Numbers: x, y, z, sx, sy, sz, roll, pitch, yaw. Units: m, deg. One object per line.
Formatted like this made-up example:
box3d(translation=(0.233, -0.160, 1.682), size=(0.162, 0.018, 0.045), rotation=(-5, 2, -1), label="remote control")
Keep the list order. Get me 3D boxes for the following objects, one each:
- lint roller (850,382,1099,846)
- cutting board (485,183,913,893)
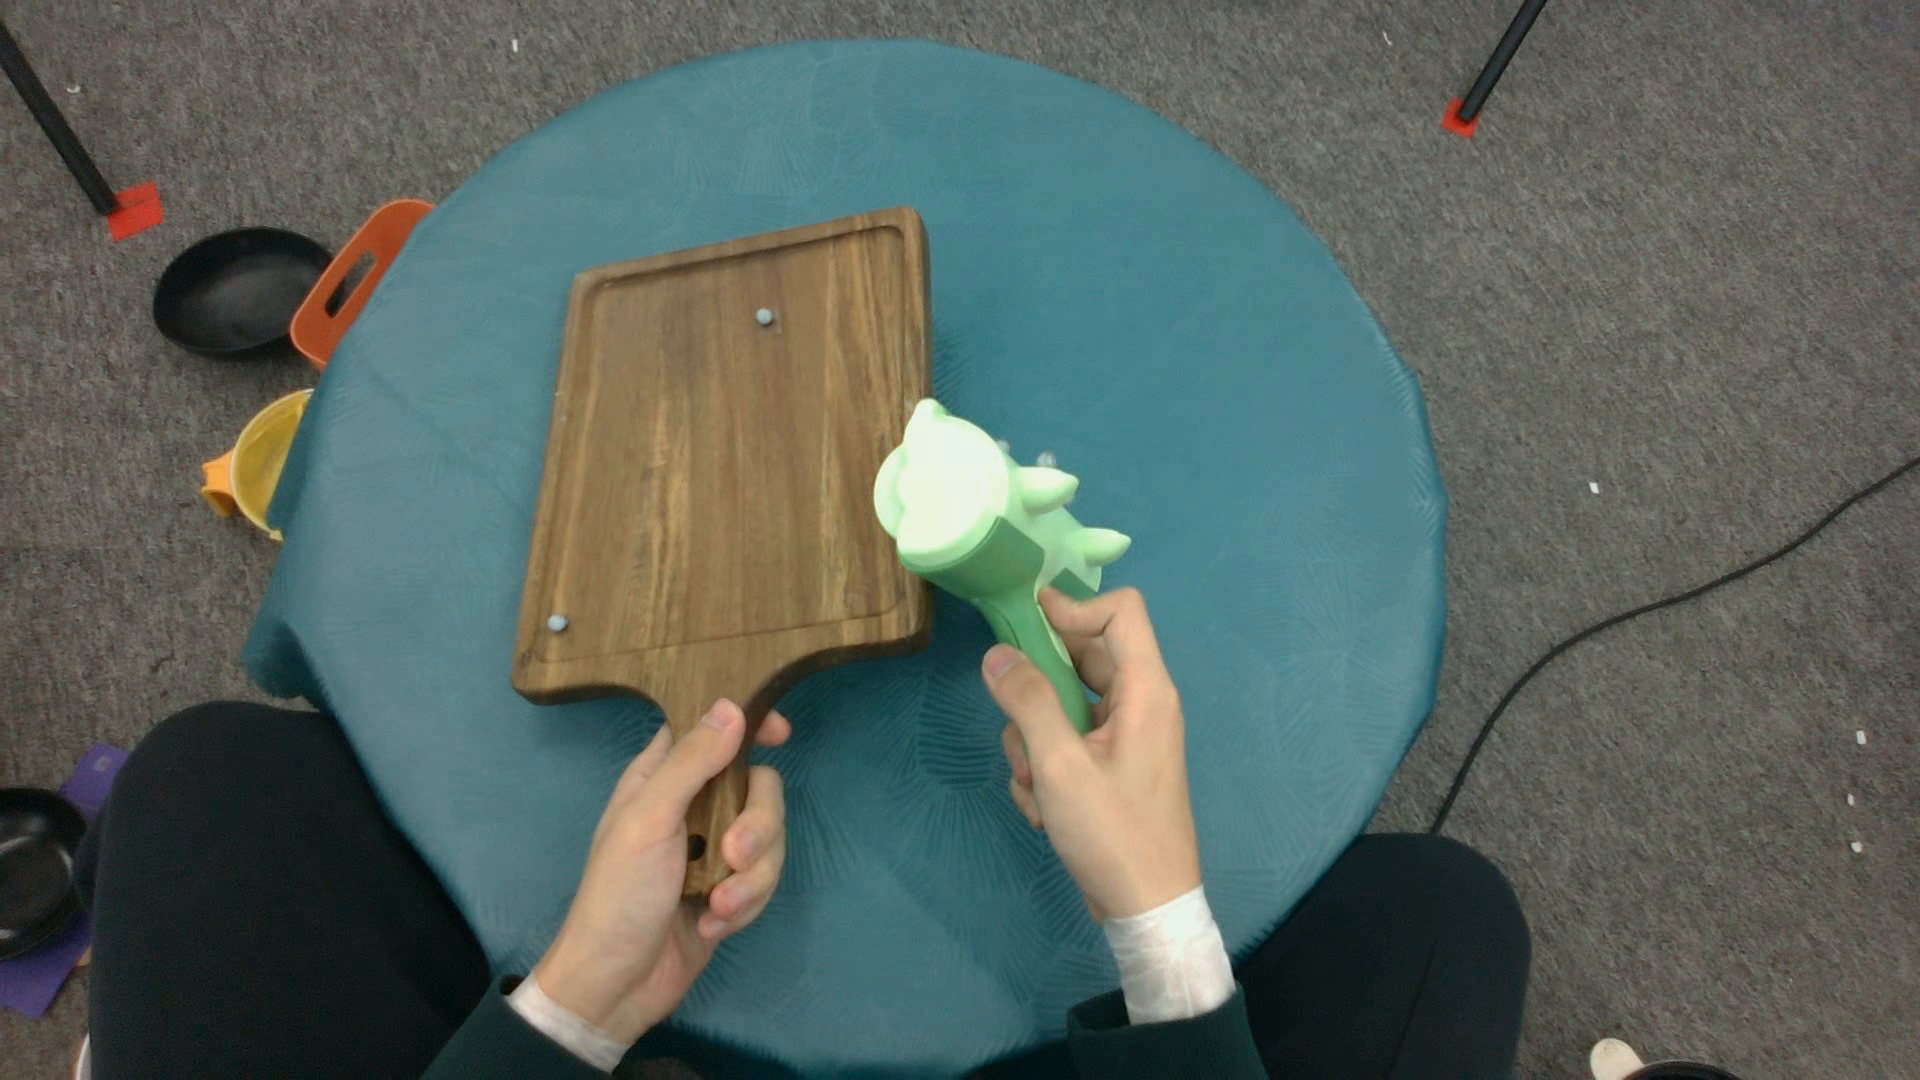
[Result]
box3d(translation=(0.035, 0.034, 0.597), size=(0.082, 0.198, 0.183), rotation=(-29, 72, 8), label="lint roller")
box3d(translation=(-0.123, -0.012, 0.642), size=(0.201, 0.023, 0.353), rotation=(-11, 60, 10), label="cutting board")
